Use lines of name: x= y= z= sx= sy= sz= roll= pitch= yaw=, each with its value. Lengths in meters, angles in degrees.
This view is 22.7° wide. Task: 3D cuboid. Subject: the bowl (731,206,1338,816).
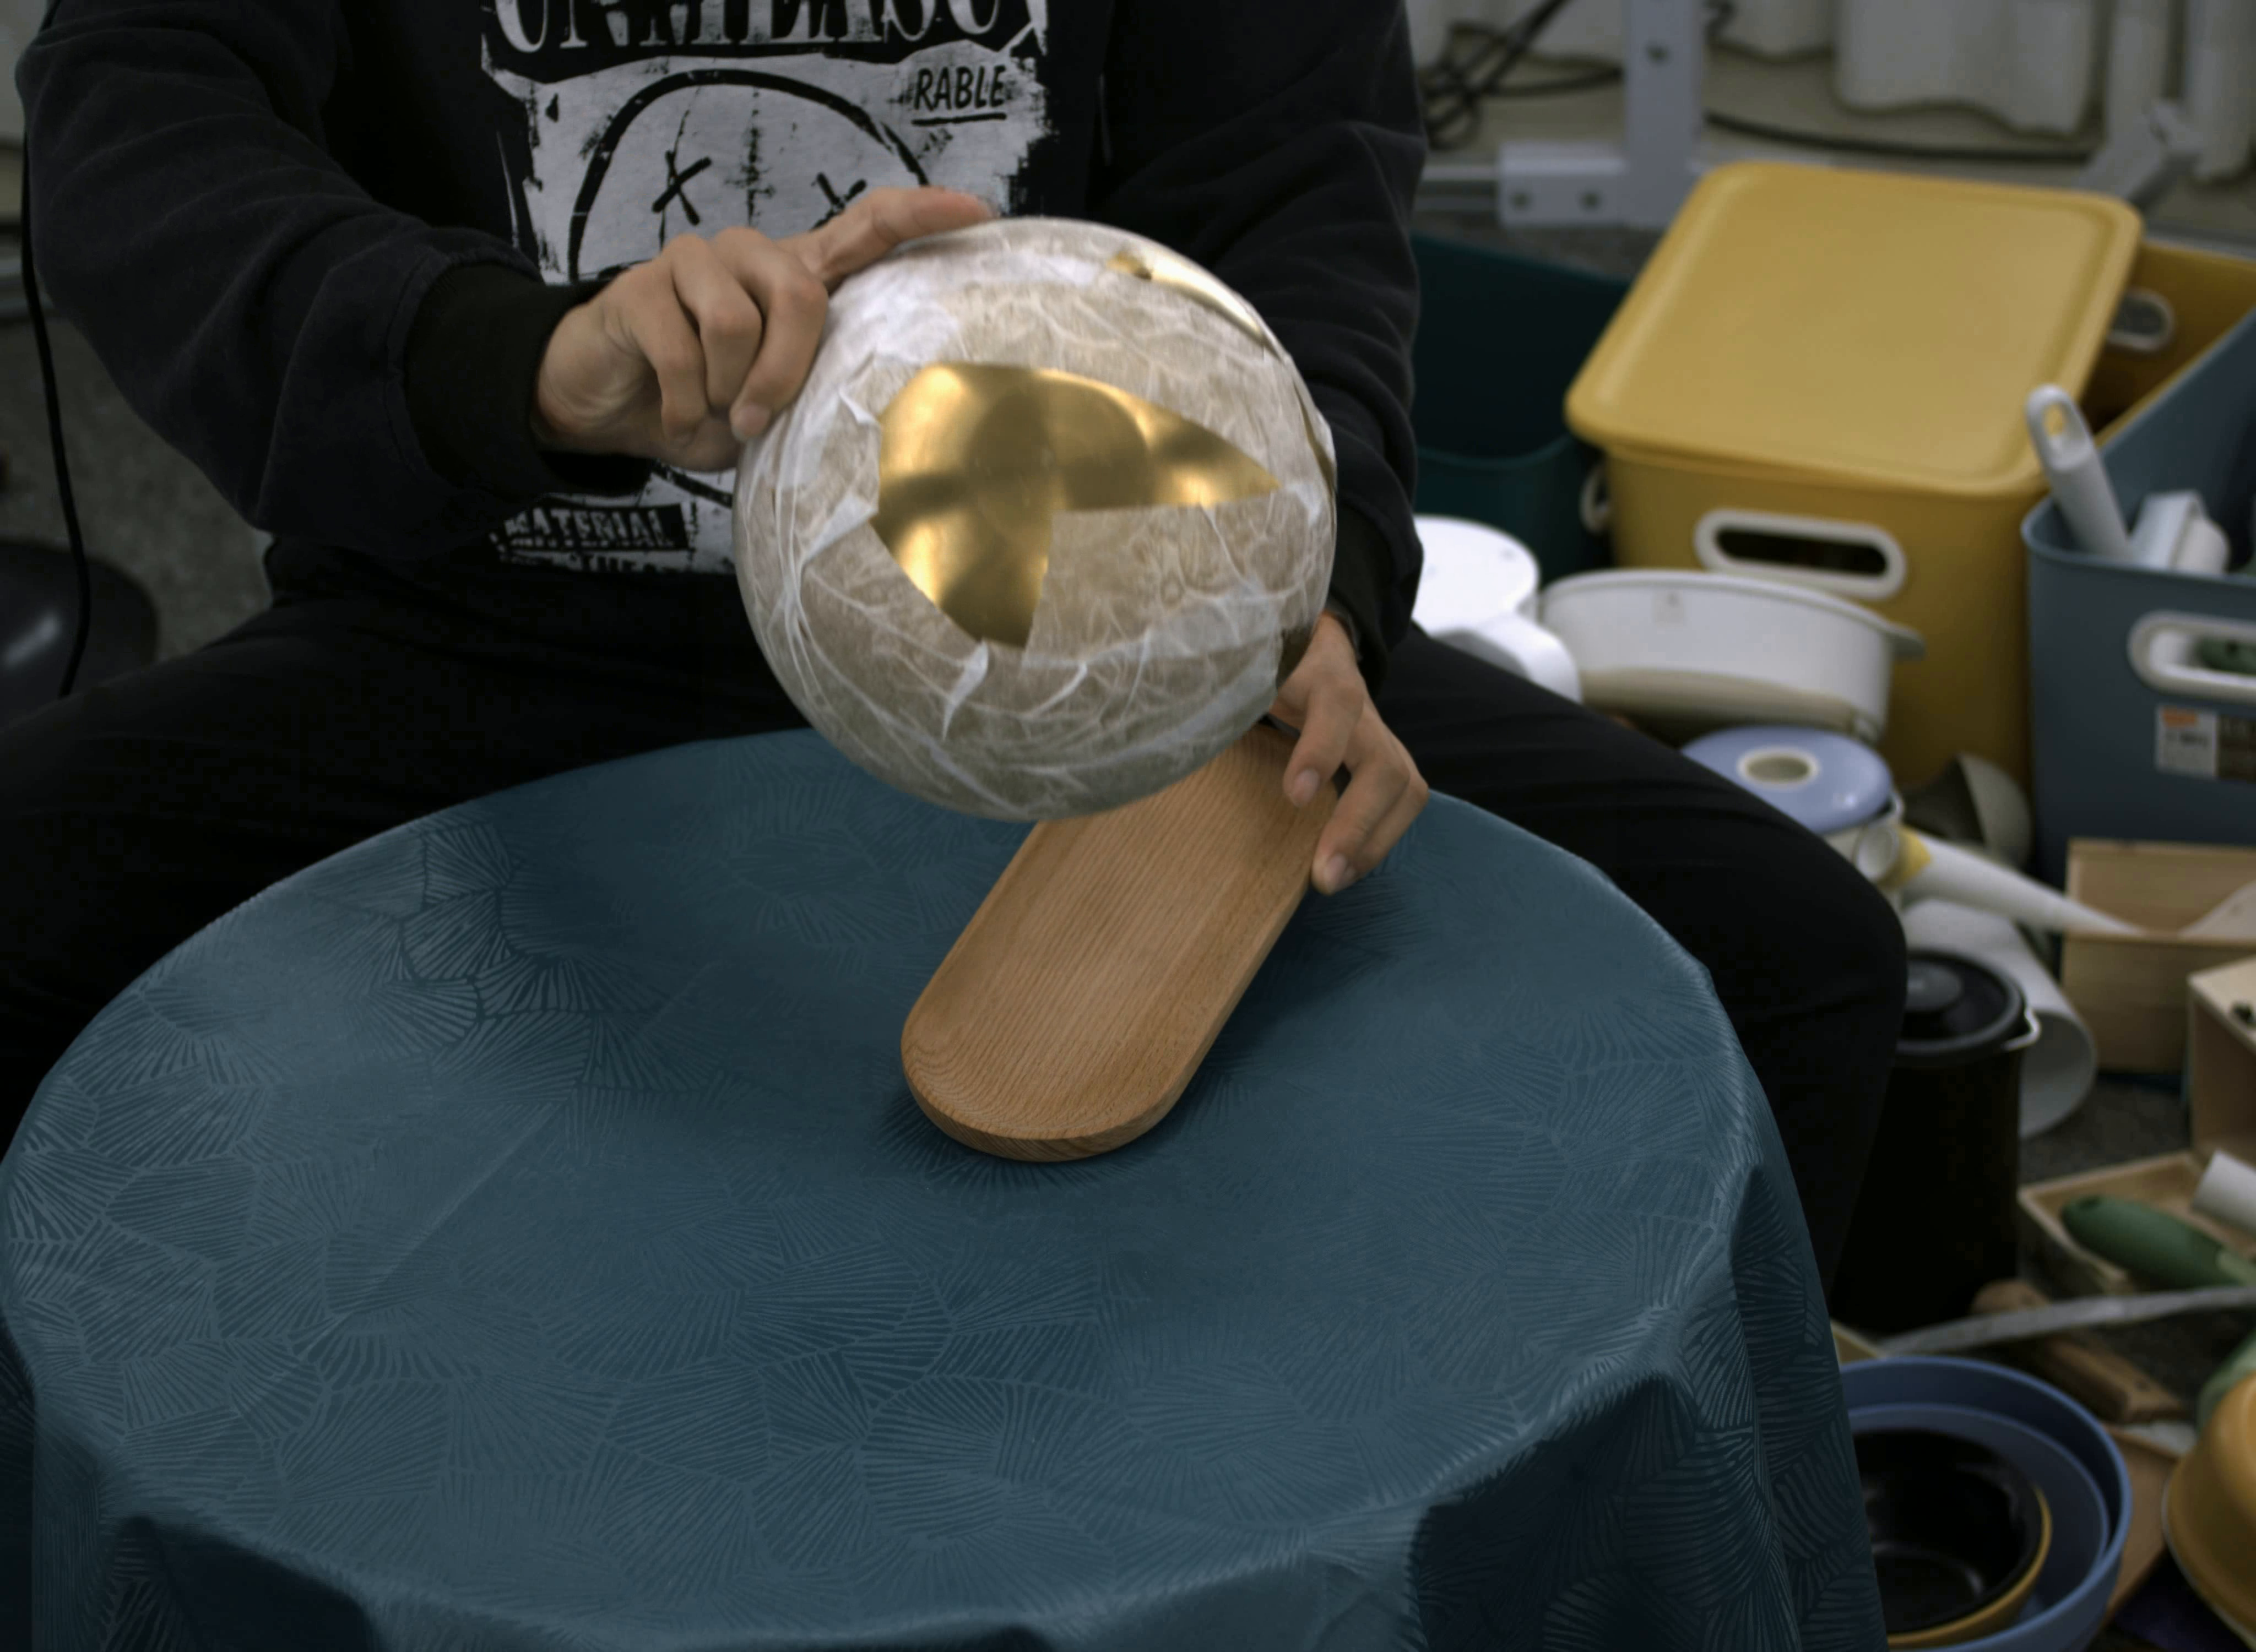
bowl: x=-0.028 y=-0.105 z=1.822 sx=0.214 sy=0.216 sz=0.094 roll=-7 pitch=-8 yaw=-8

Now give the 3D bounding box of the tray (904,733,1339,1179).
tray: x=0.000 y=0.042 z=1.955 sx=0.101 sy=0.020 sz=0.236 roll=11 pitch=43 yaw=20
